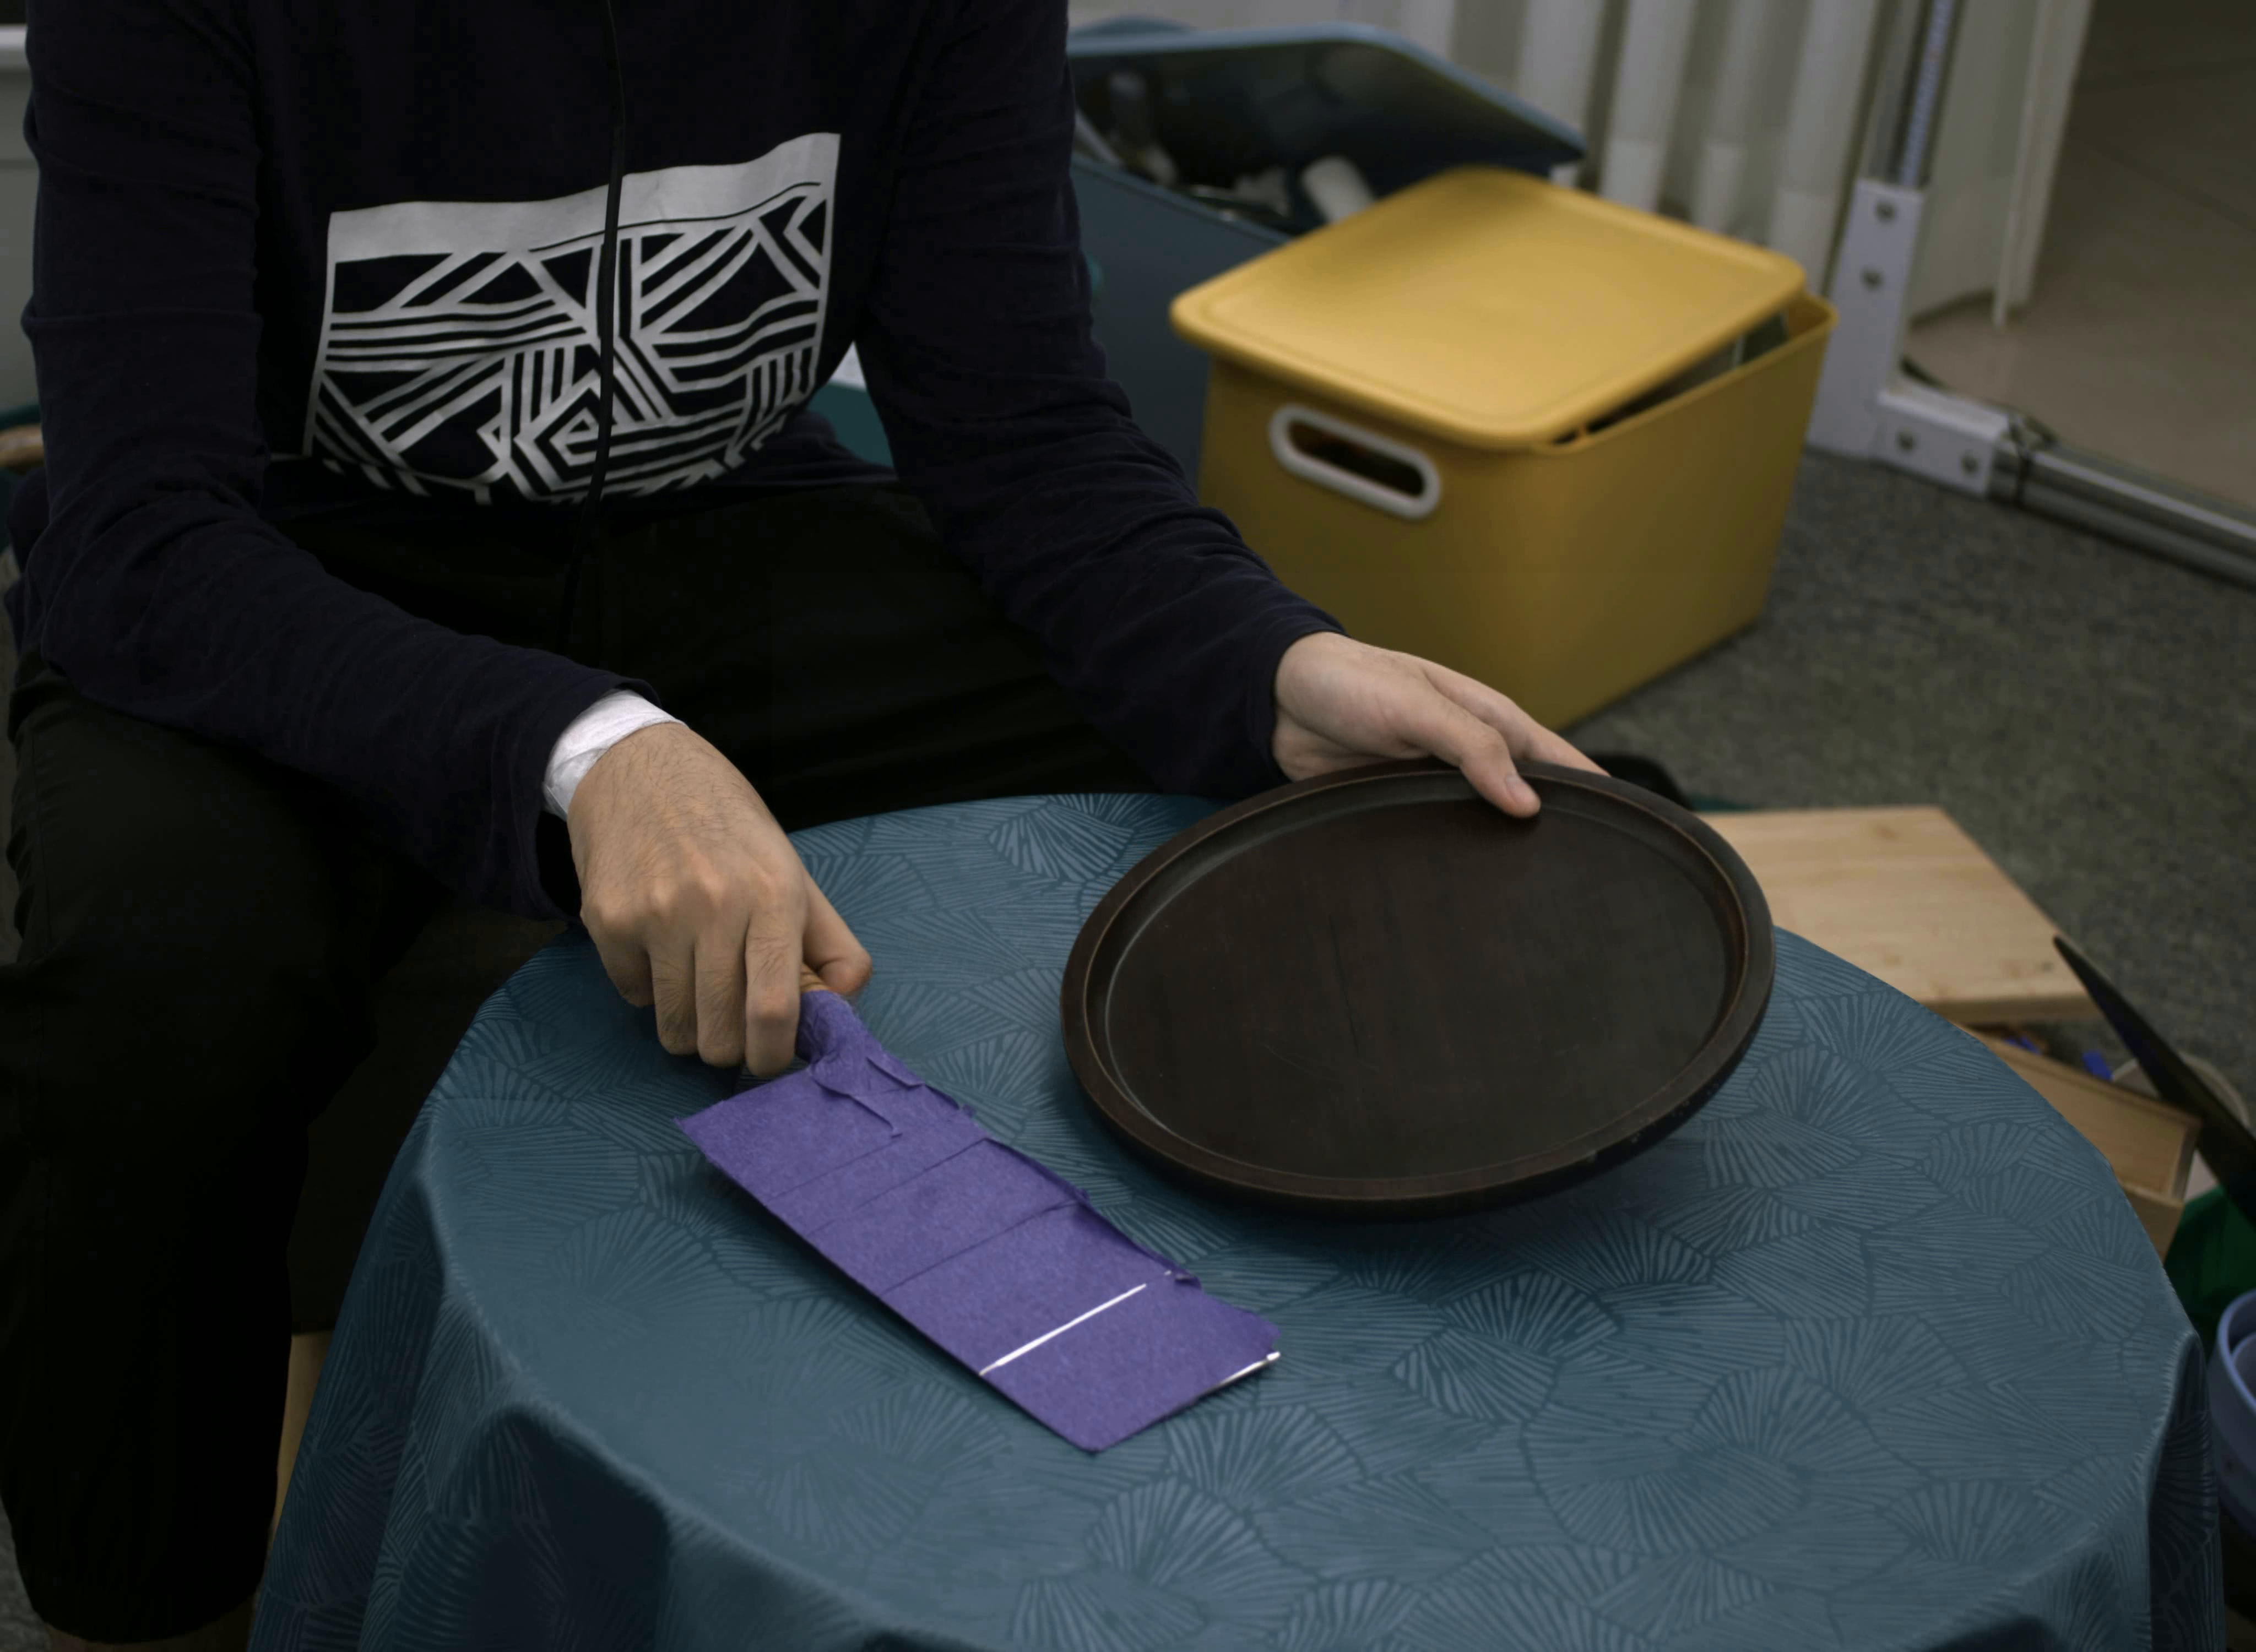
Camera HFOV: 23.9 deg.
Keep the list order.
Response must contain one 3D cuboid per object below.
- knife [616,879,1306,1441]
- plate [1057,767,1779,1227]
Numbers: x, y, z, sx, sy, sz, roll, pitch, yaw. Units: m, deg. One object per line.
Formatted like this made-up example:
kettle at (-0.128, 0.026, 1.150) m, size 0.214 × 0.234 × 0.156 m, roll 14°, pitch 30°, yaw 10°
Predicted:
knife at (-0.084, 0.107, 1.773) m, size 0.103 × 0.032 × 0.318 m, roll -21°, pitch 40°, yaw -40°
plate at (0.101, 0.058, 1.866) m, size 0.254 × 0.029 × 0.257 m, roll -6°, pitch 36°, yaw 4°
